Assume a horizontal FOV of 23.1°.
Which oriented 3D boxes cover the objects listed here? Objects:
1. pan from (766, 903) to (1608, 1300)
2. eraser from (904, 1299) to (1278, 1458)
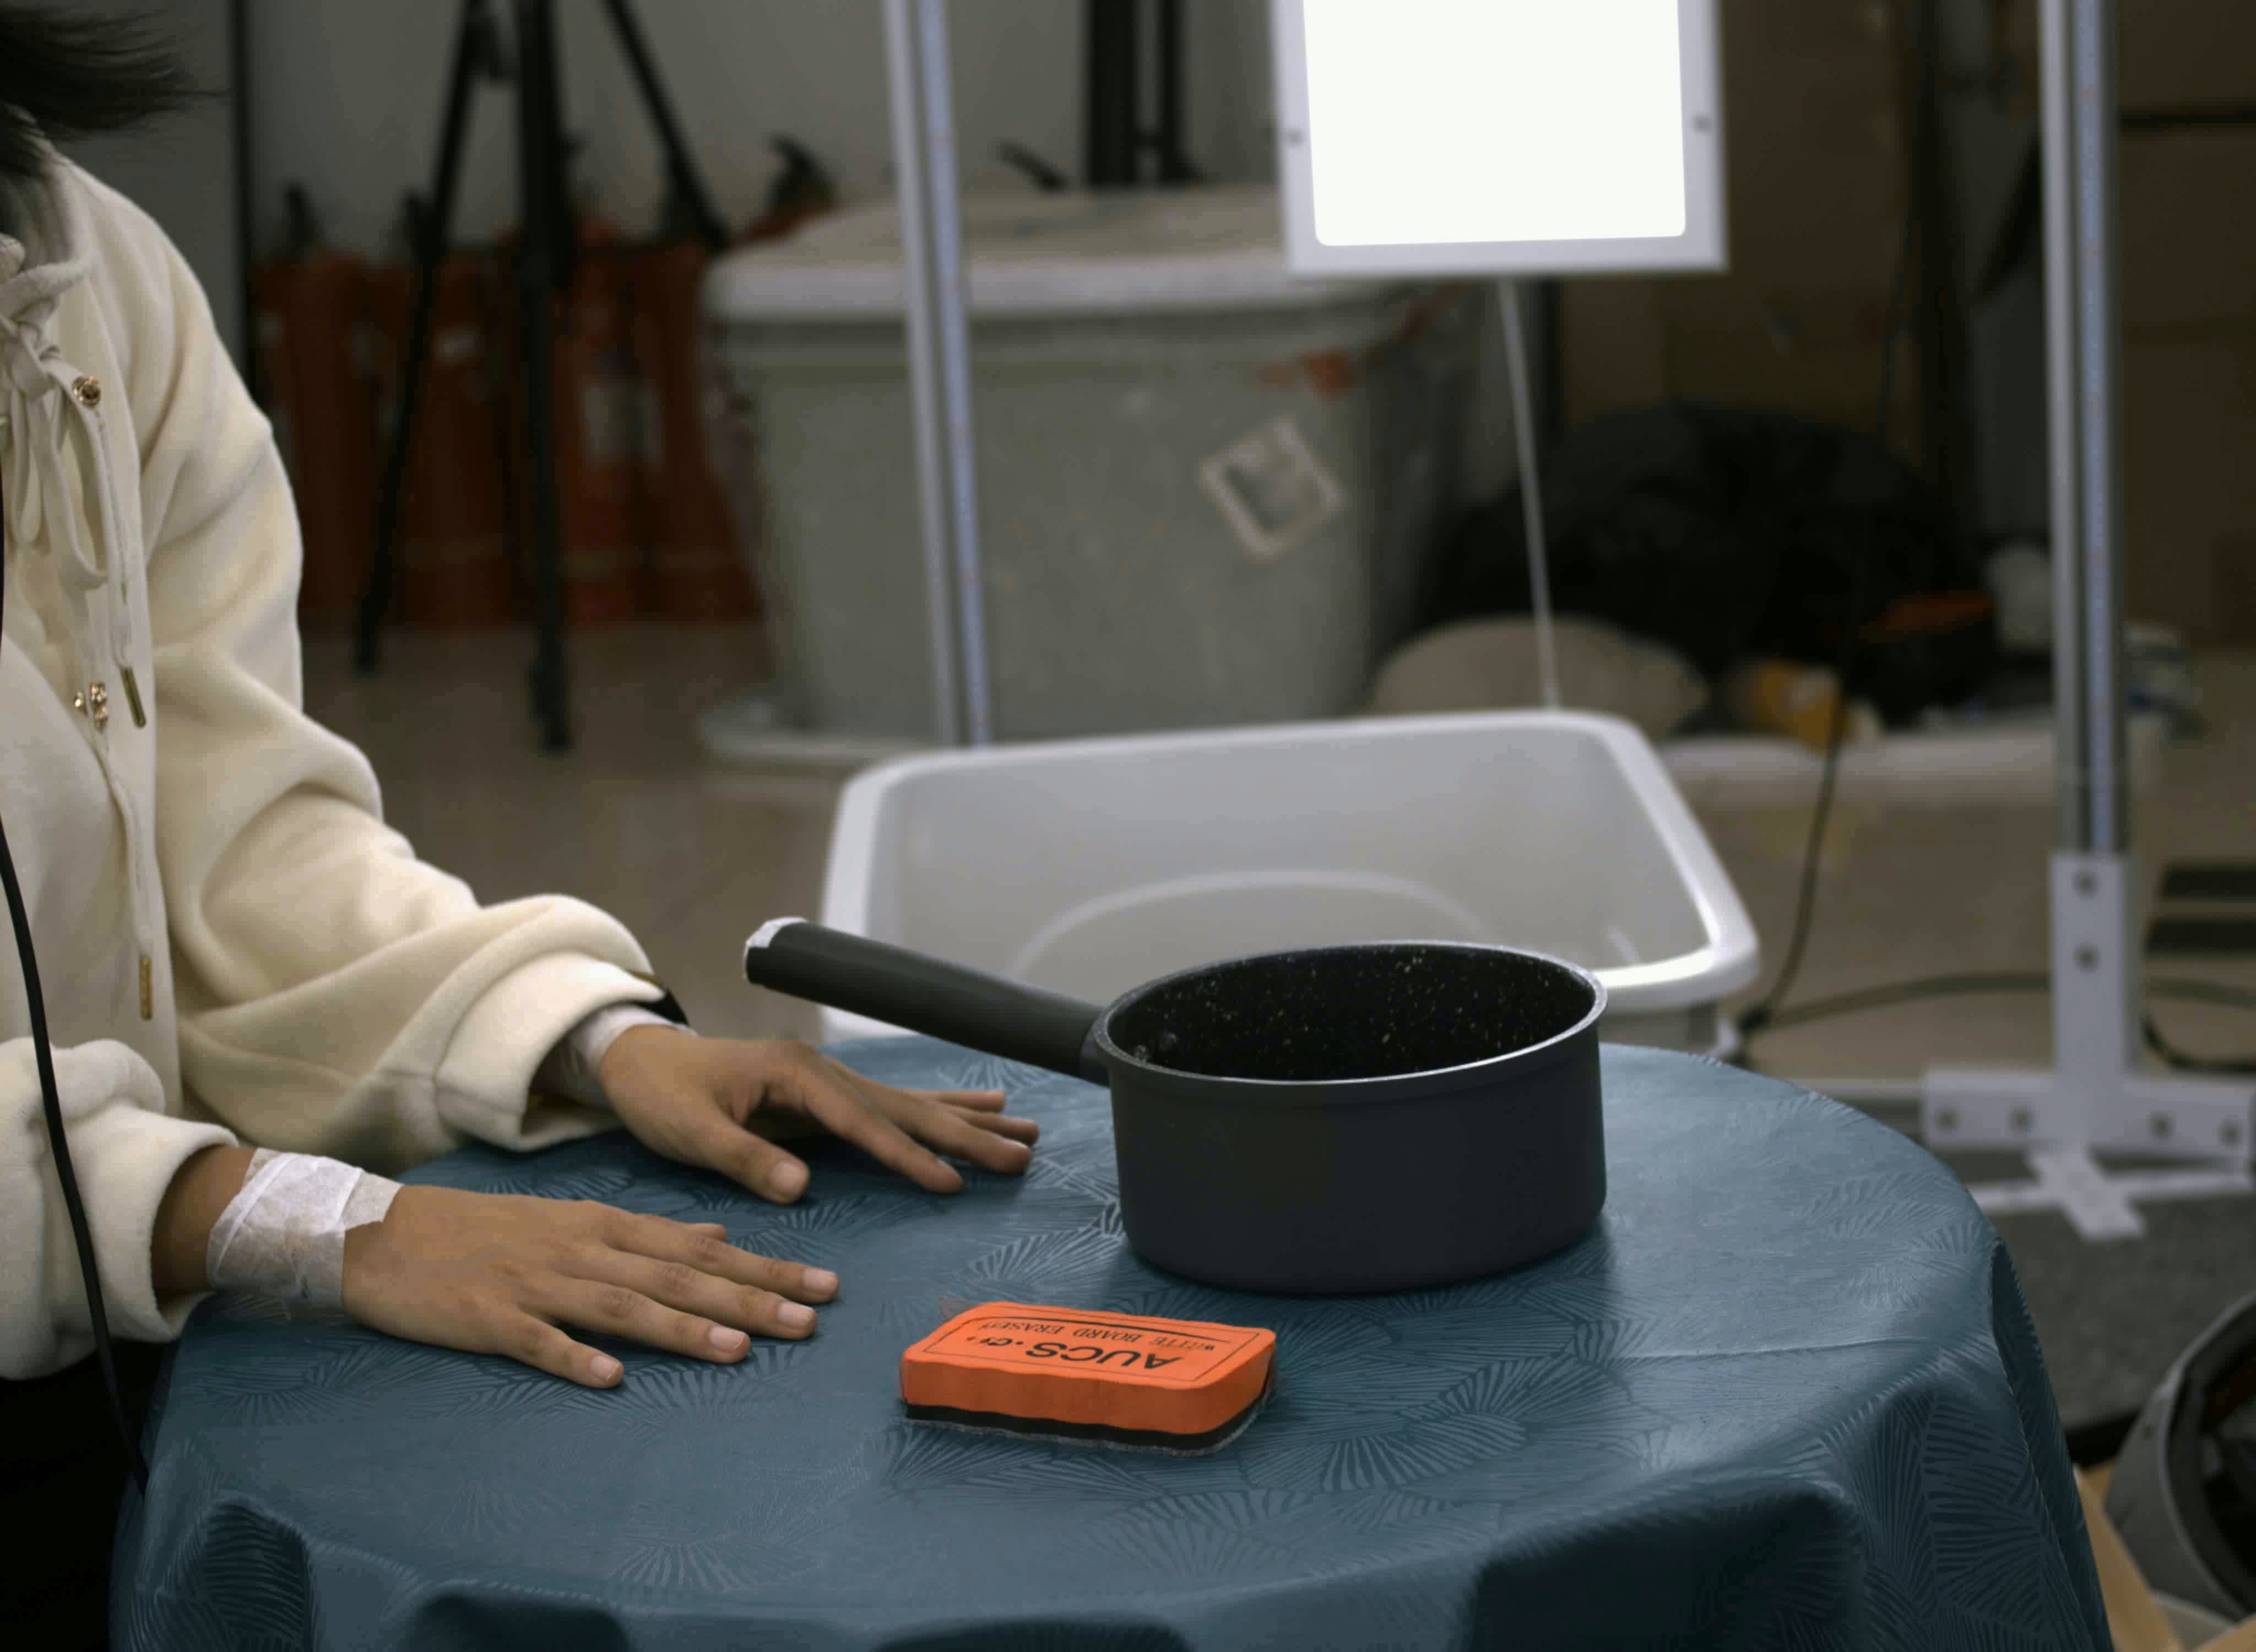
[{"bbox_3d":[0.012,0.087,1.879,0.335,0.087,0.168,7,18,36],"label":"pan"},{"bbox_3d":[-0.011,0.168,1.683,0.110,0.023,0.057,4,16,32],"label":"eraser"}]
